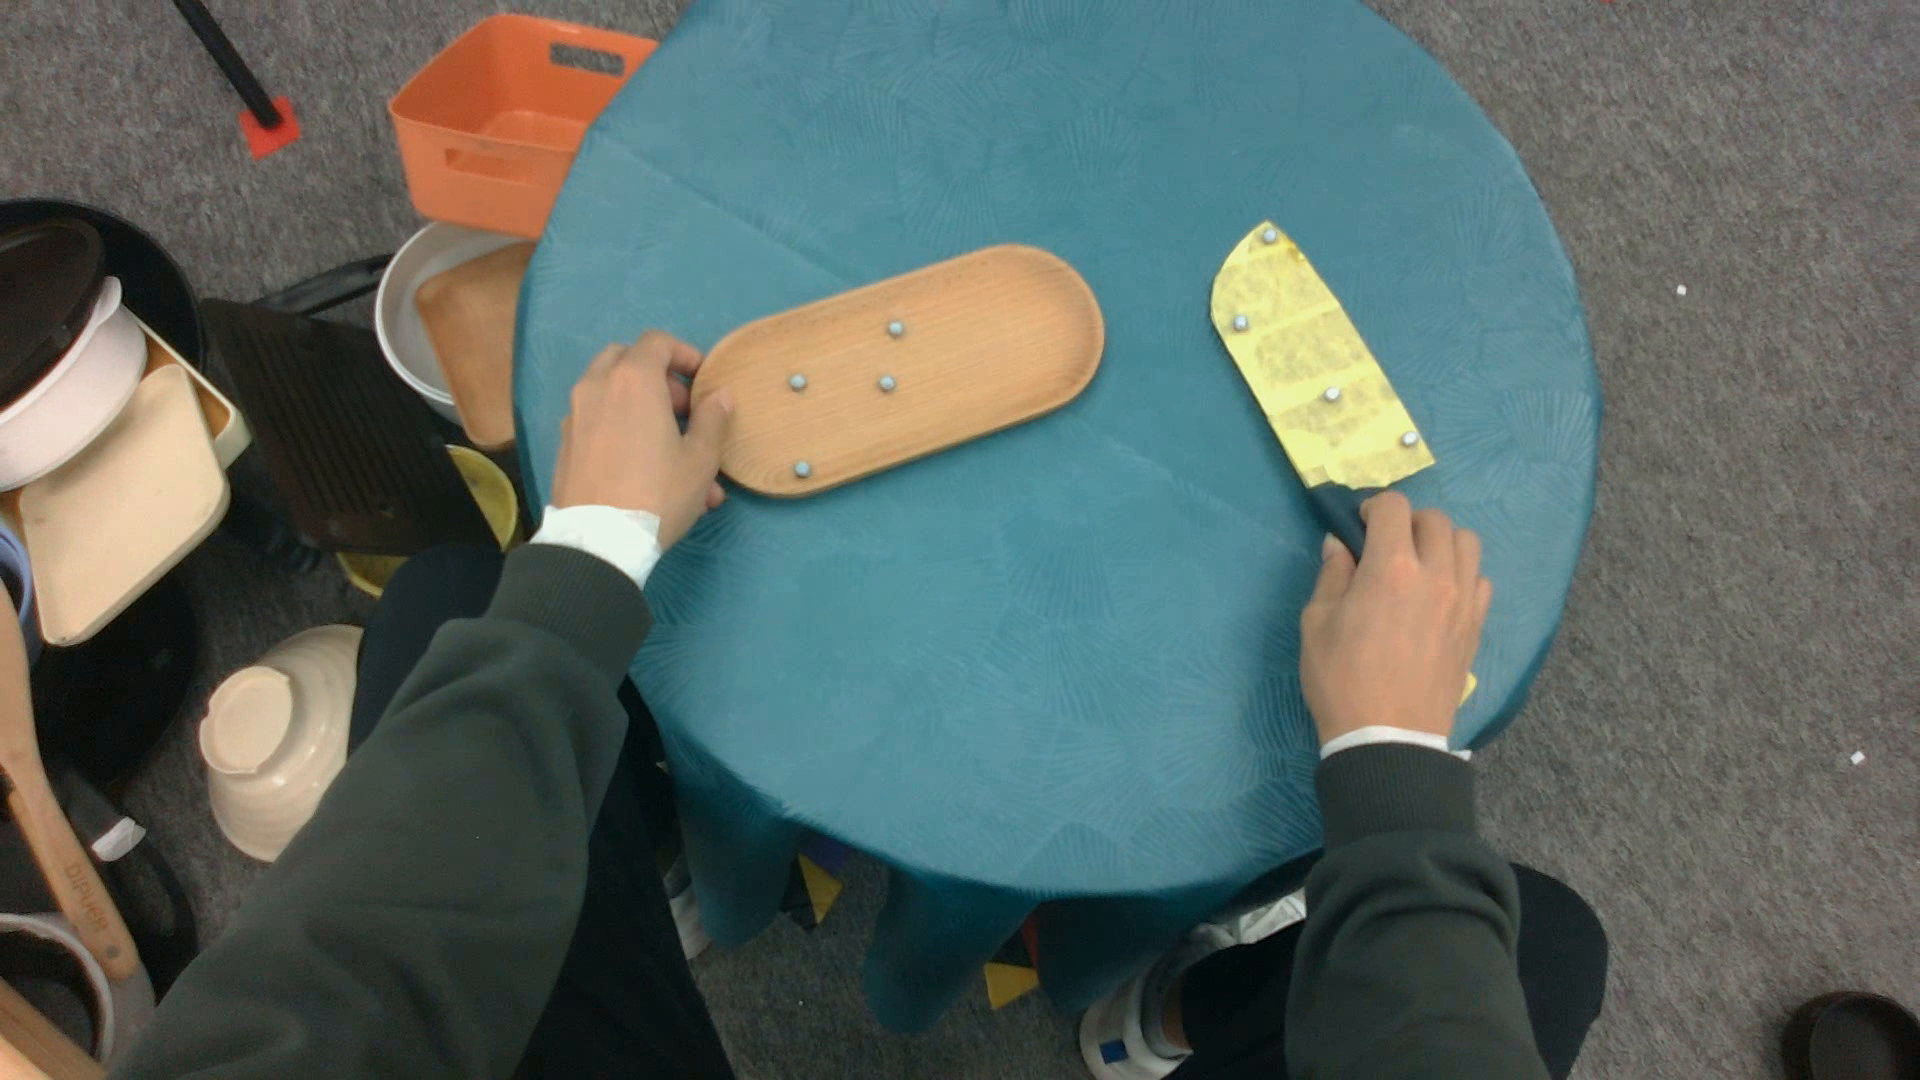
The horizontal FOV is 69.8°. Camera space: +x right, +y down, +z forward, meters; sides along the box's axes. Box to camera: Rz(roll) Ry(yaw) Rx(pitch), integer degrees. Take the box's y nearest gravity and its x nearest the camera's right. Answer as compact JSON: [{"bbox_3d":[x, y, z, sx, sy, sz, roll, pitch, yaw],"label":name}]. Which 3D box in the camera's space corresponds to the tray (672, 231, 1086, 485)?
[{"bbox_3d":[-0.041,-0.099,0.745,0.231,0.020,0.102,-20,78,-13],"label":"tray"}]

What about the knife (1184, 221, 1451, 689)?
[{"bbox_3d":[0.202,-0.056,0.755,0.081,0.027,0.290,-20,73,-8],"label":"knife"}]
